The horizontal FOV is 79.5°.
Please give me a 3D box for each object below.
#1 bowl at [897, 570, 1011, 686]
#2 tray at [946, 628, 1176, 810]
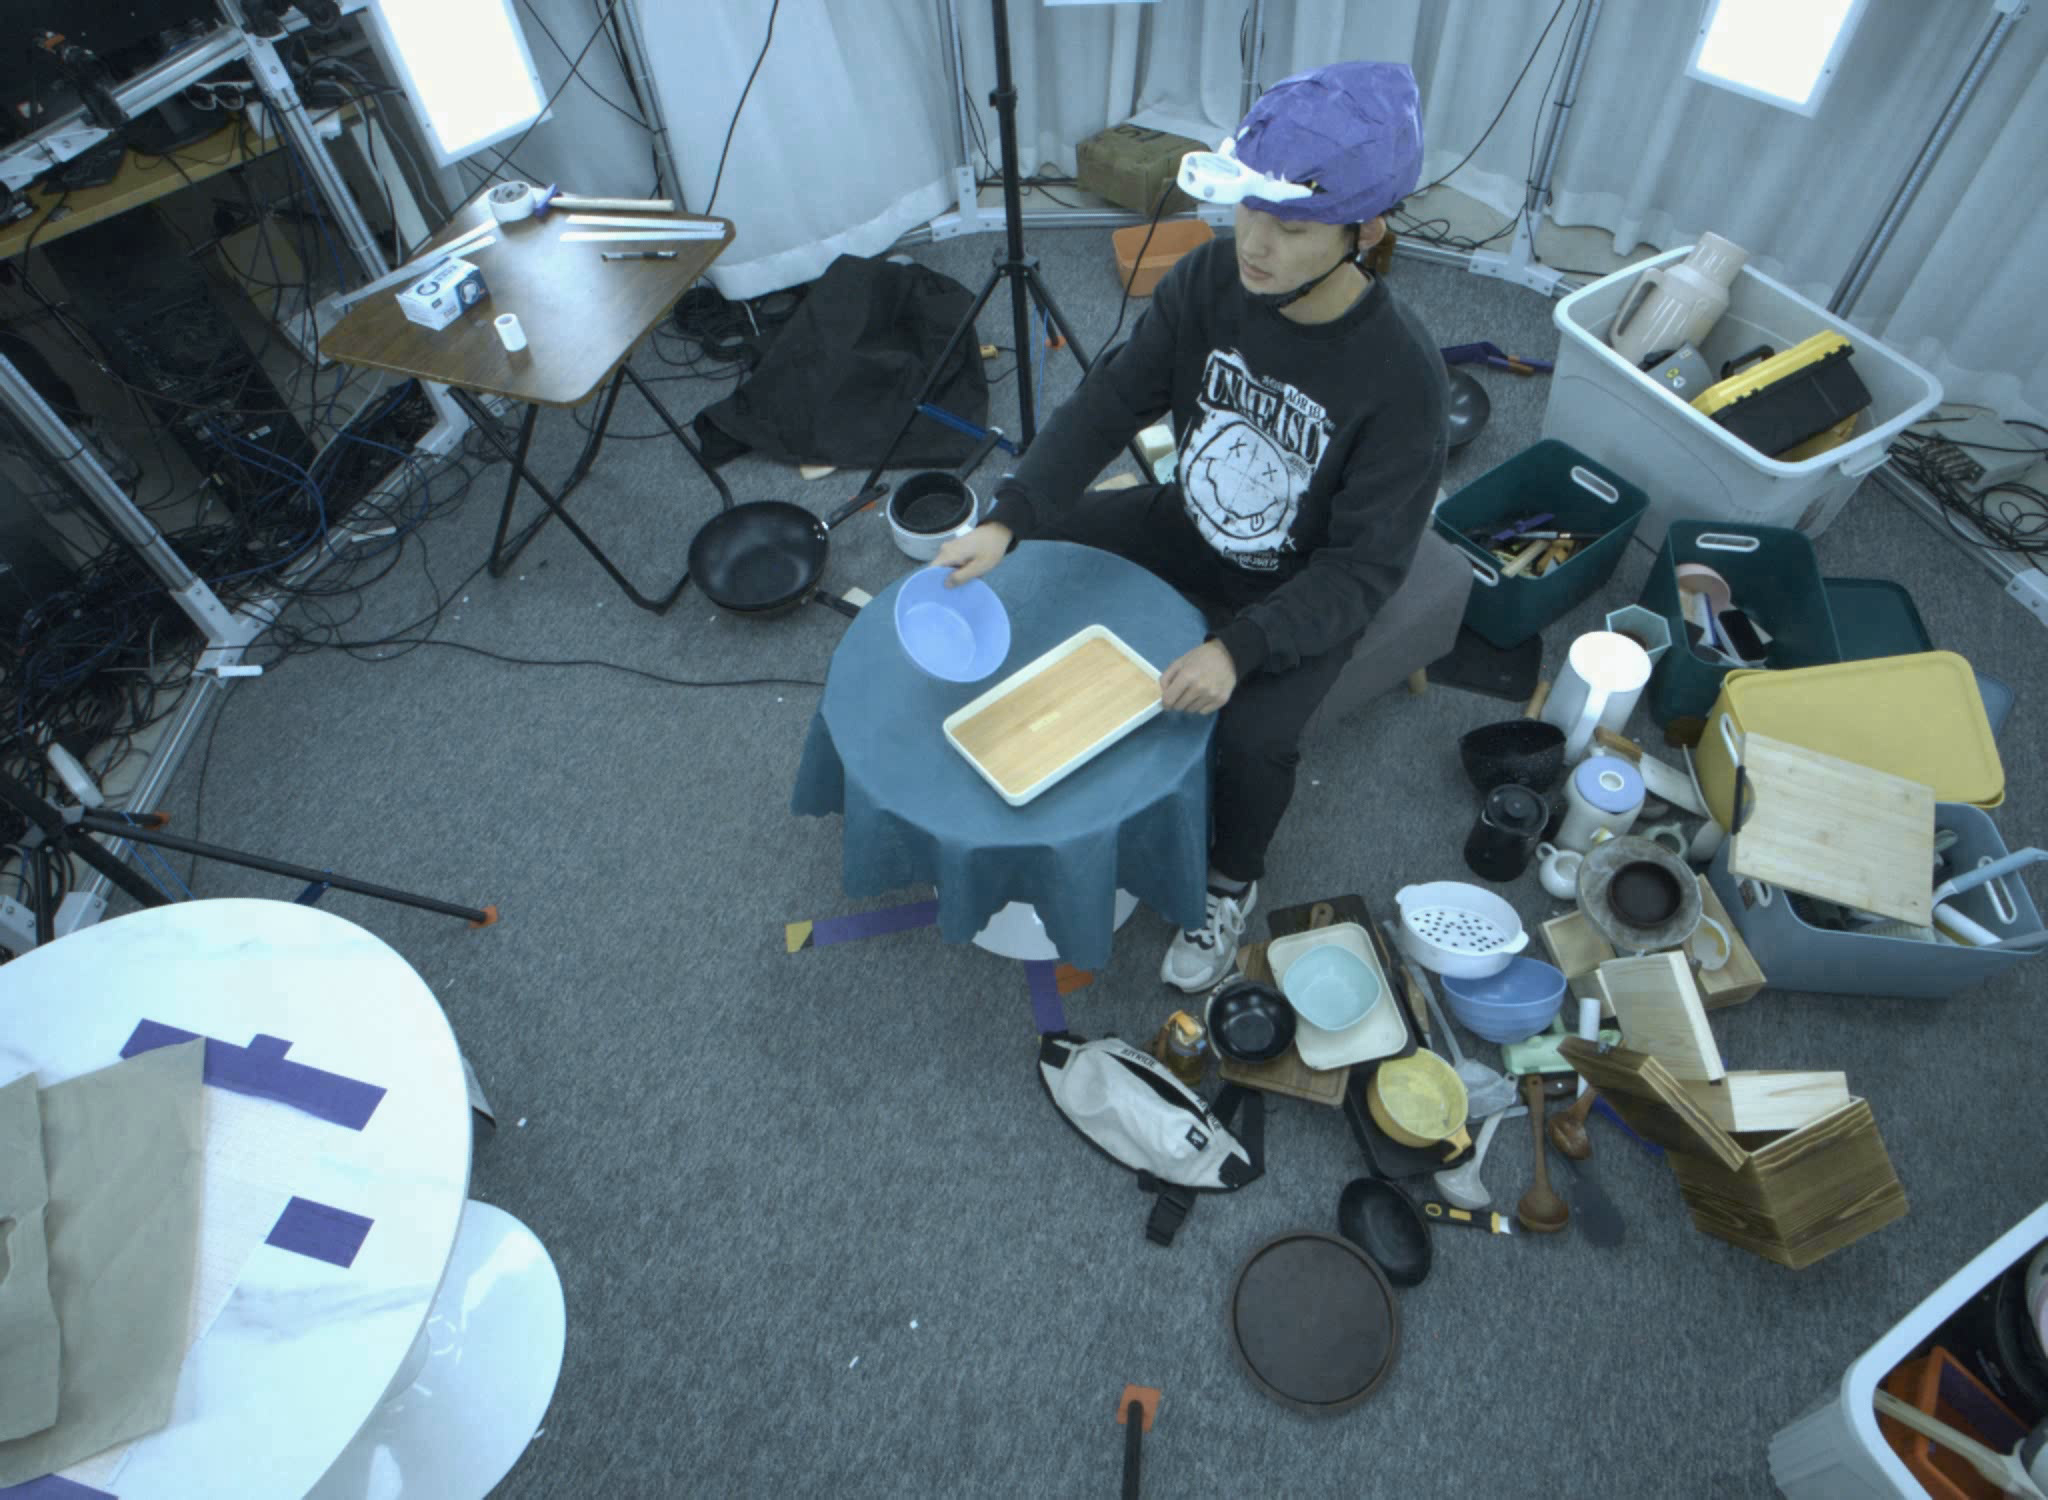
[{"bbox_3d":[-0.111,-0.164,1.749,0.179,0.069,0.175,10,70,-27],"label":"bowl"},{"bbox_3d":[0.054,-0.050,1.798,0.302,0.028,0.187,-34,55,-17],"label":"tray"}]
